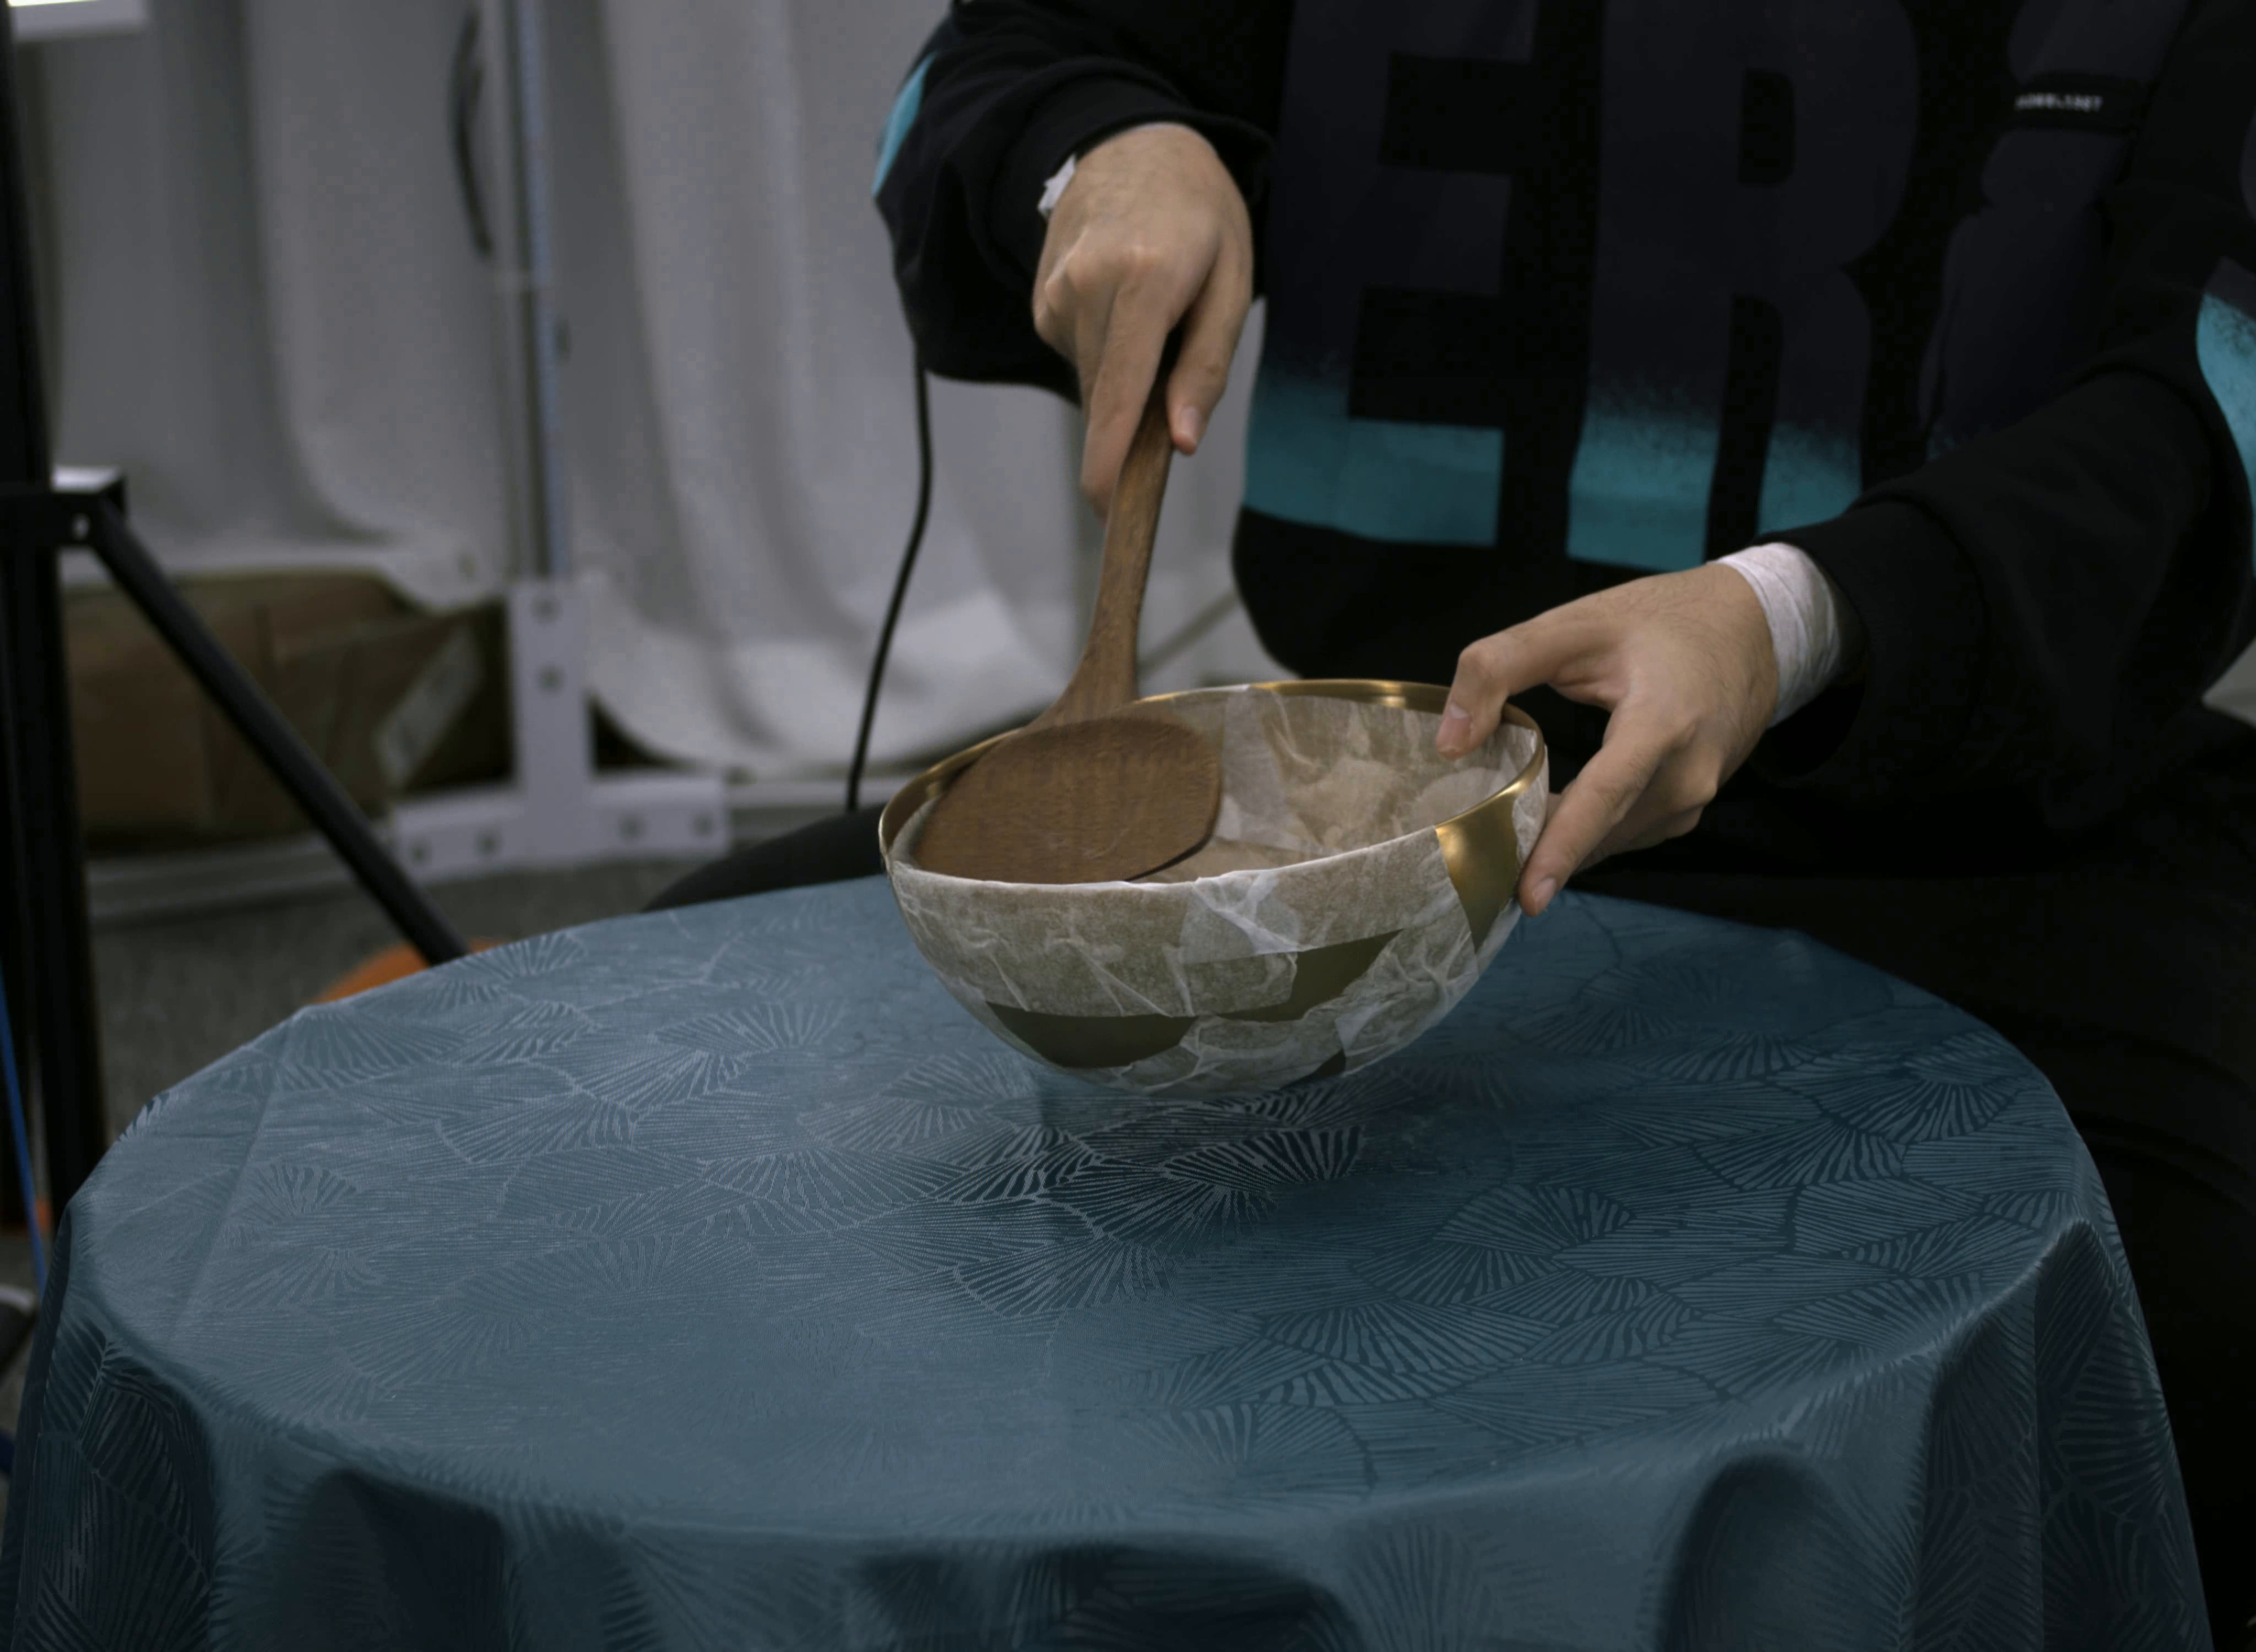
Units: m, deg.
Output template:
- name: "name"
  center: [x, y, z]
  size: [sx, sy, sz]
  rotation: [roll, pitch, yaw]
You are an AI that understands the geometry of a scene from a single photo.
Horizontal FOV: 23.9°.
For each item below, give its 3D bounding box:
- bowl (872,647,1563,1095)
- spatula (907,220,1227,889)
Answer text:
- name: "bowl"
  center: [0.033, 0.024, 1.584]
  size: [0.214, 0.094, 0.216]
  rotation: [-10, 18, 2]
- name: "spatula"
  center: [-0.001, -0.095, 1.719]
  size: [0.097, 0.015, 0.388]
  rotation: [-8, 36, 14]
